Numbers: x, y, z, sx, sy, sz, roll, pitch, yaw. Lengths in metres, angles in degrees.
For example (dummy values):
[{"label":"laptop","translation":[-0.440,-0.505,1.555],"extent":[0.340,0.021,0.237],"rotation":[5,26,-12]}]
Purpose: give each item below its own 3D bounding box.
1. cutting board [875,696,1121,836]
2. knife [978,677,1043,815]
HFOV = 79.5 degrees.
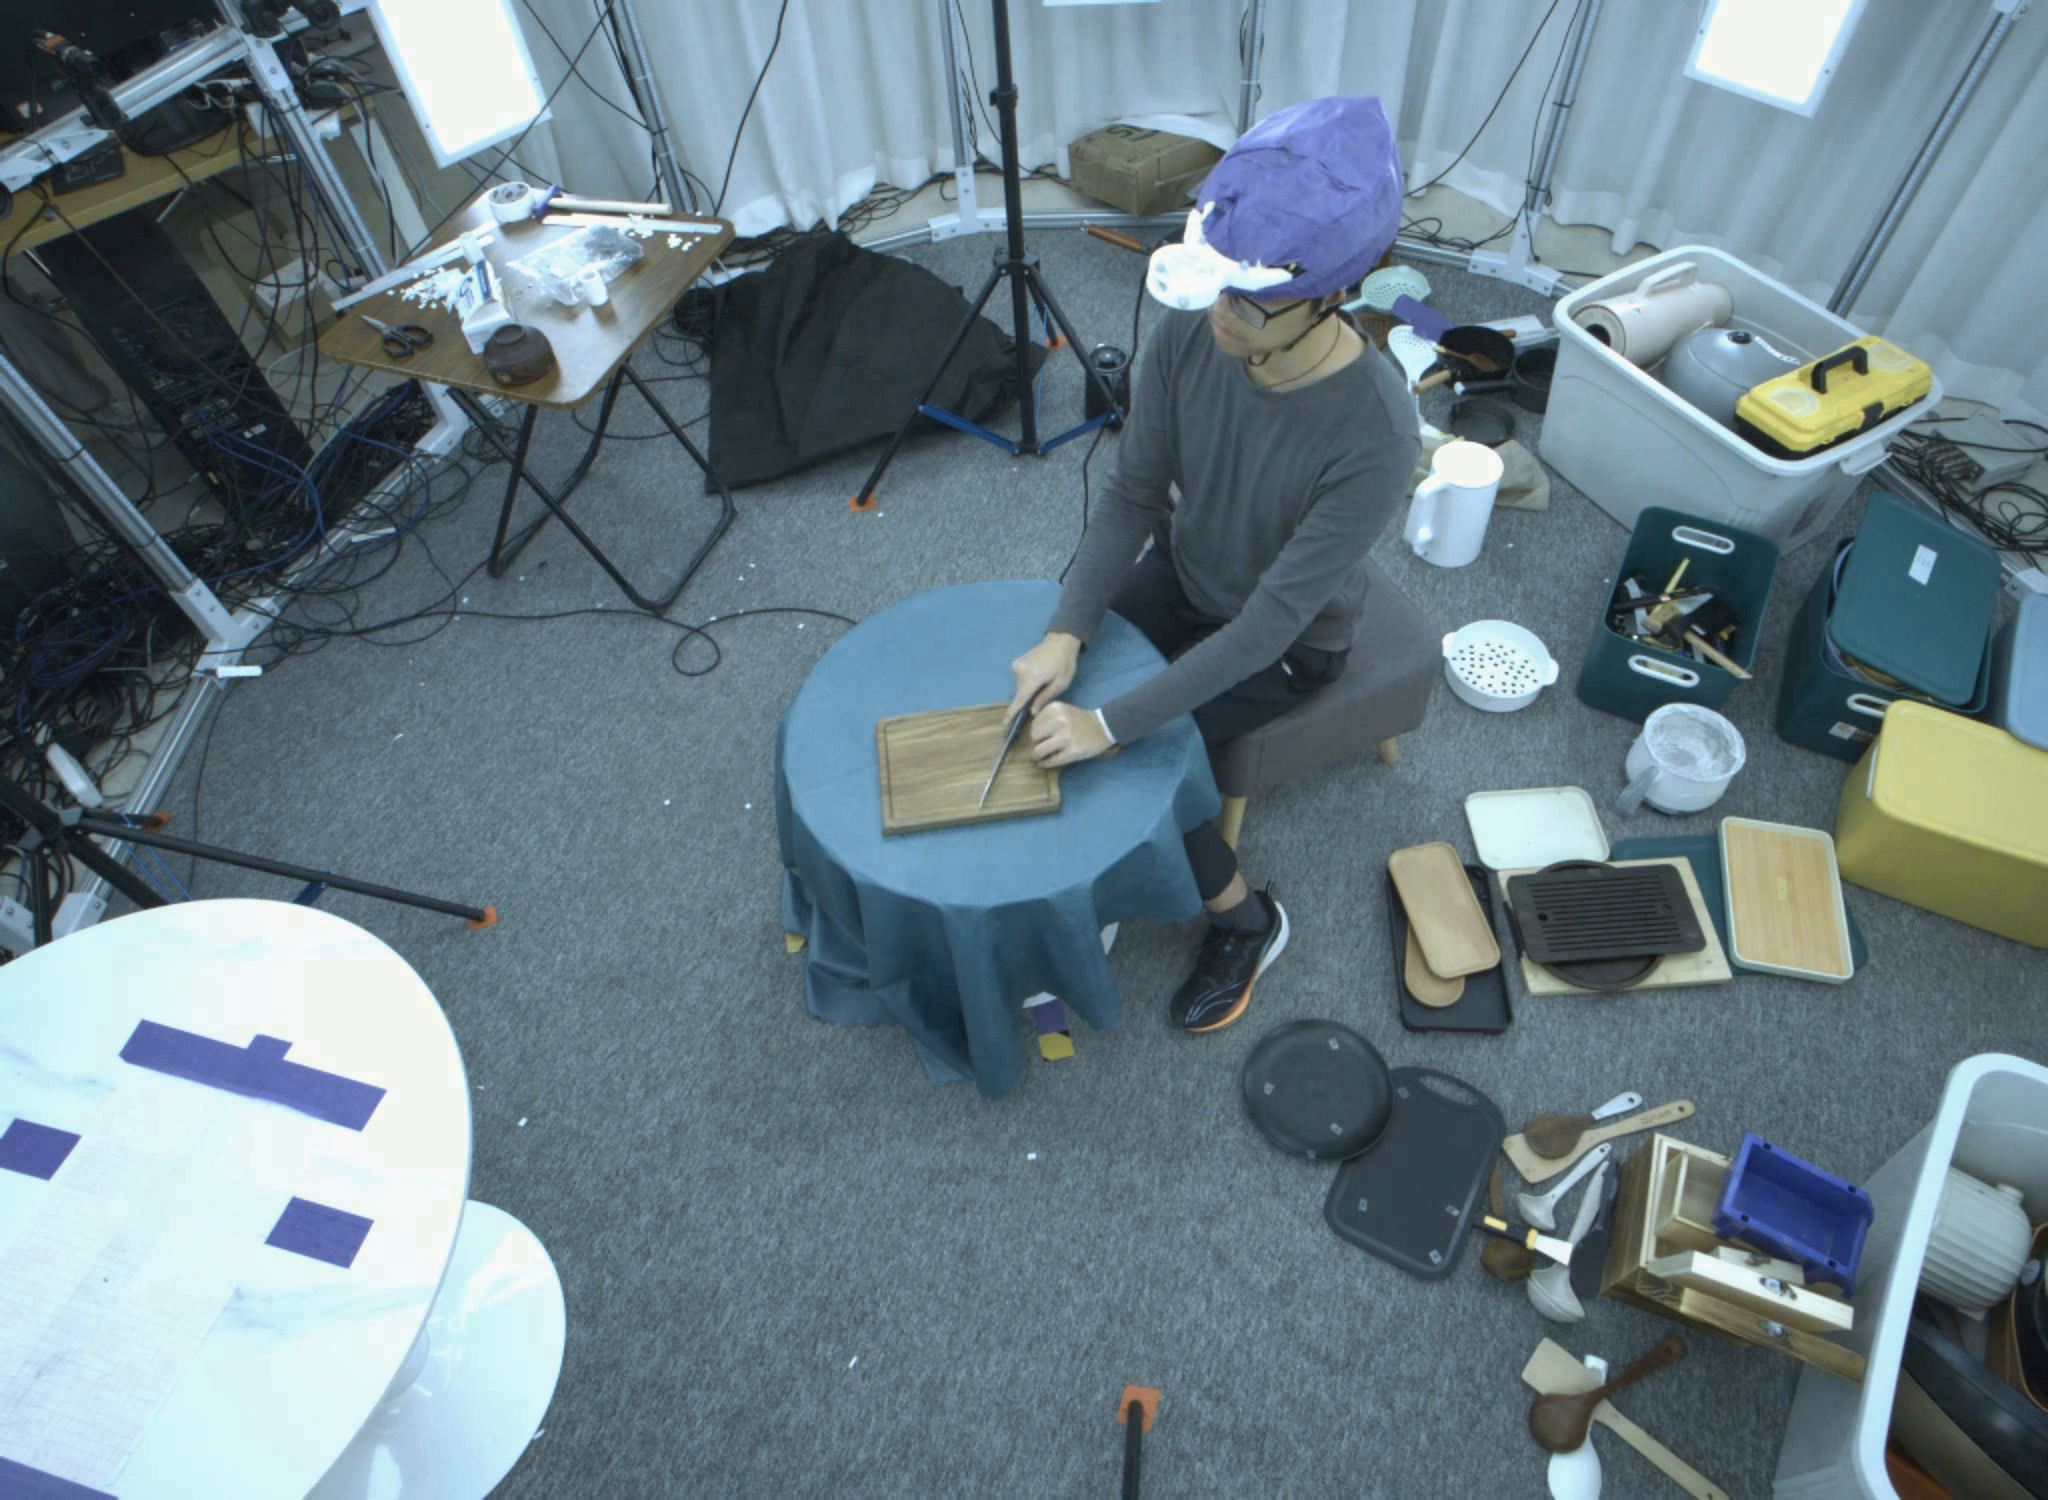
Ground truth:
[{"label":"cutting board","translation":[-0.033,0.012,1.774],"extent":[0.353,0.023,0.198],"rotation":[-8,55,-5]},{"label":"knife","translation":[-0.021,-0.010,1.759],"extent":[0.016,0.025,0.238],"rotation":[16,63,17]}]
